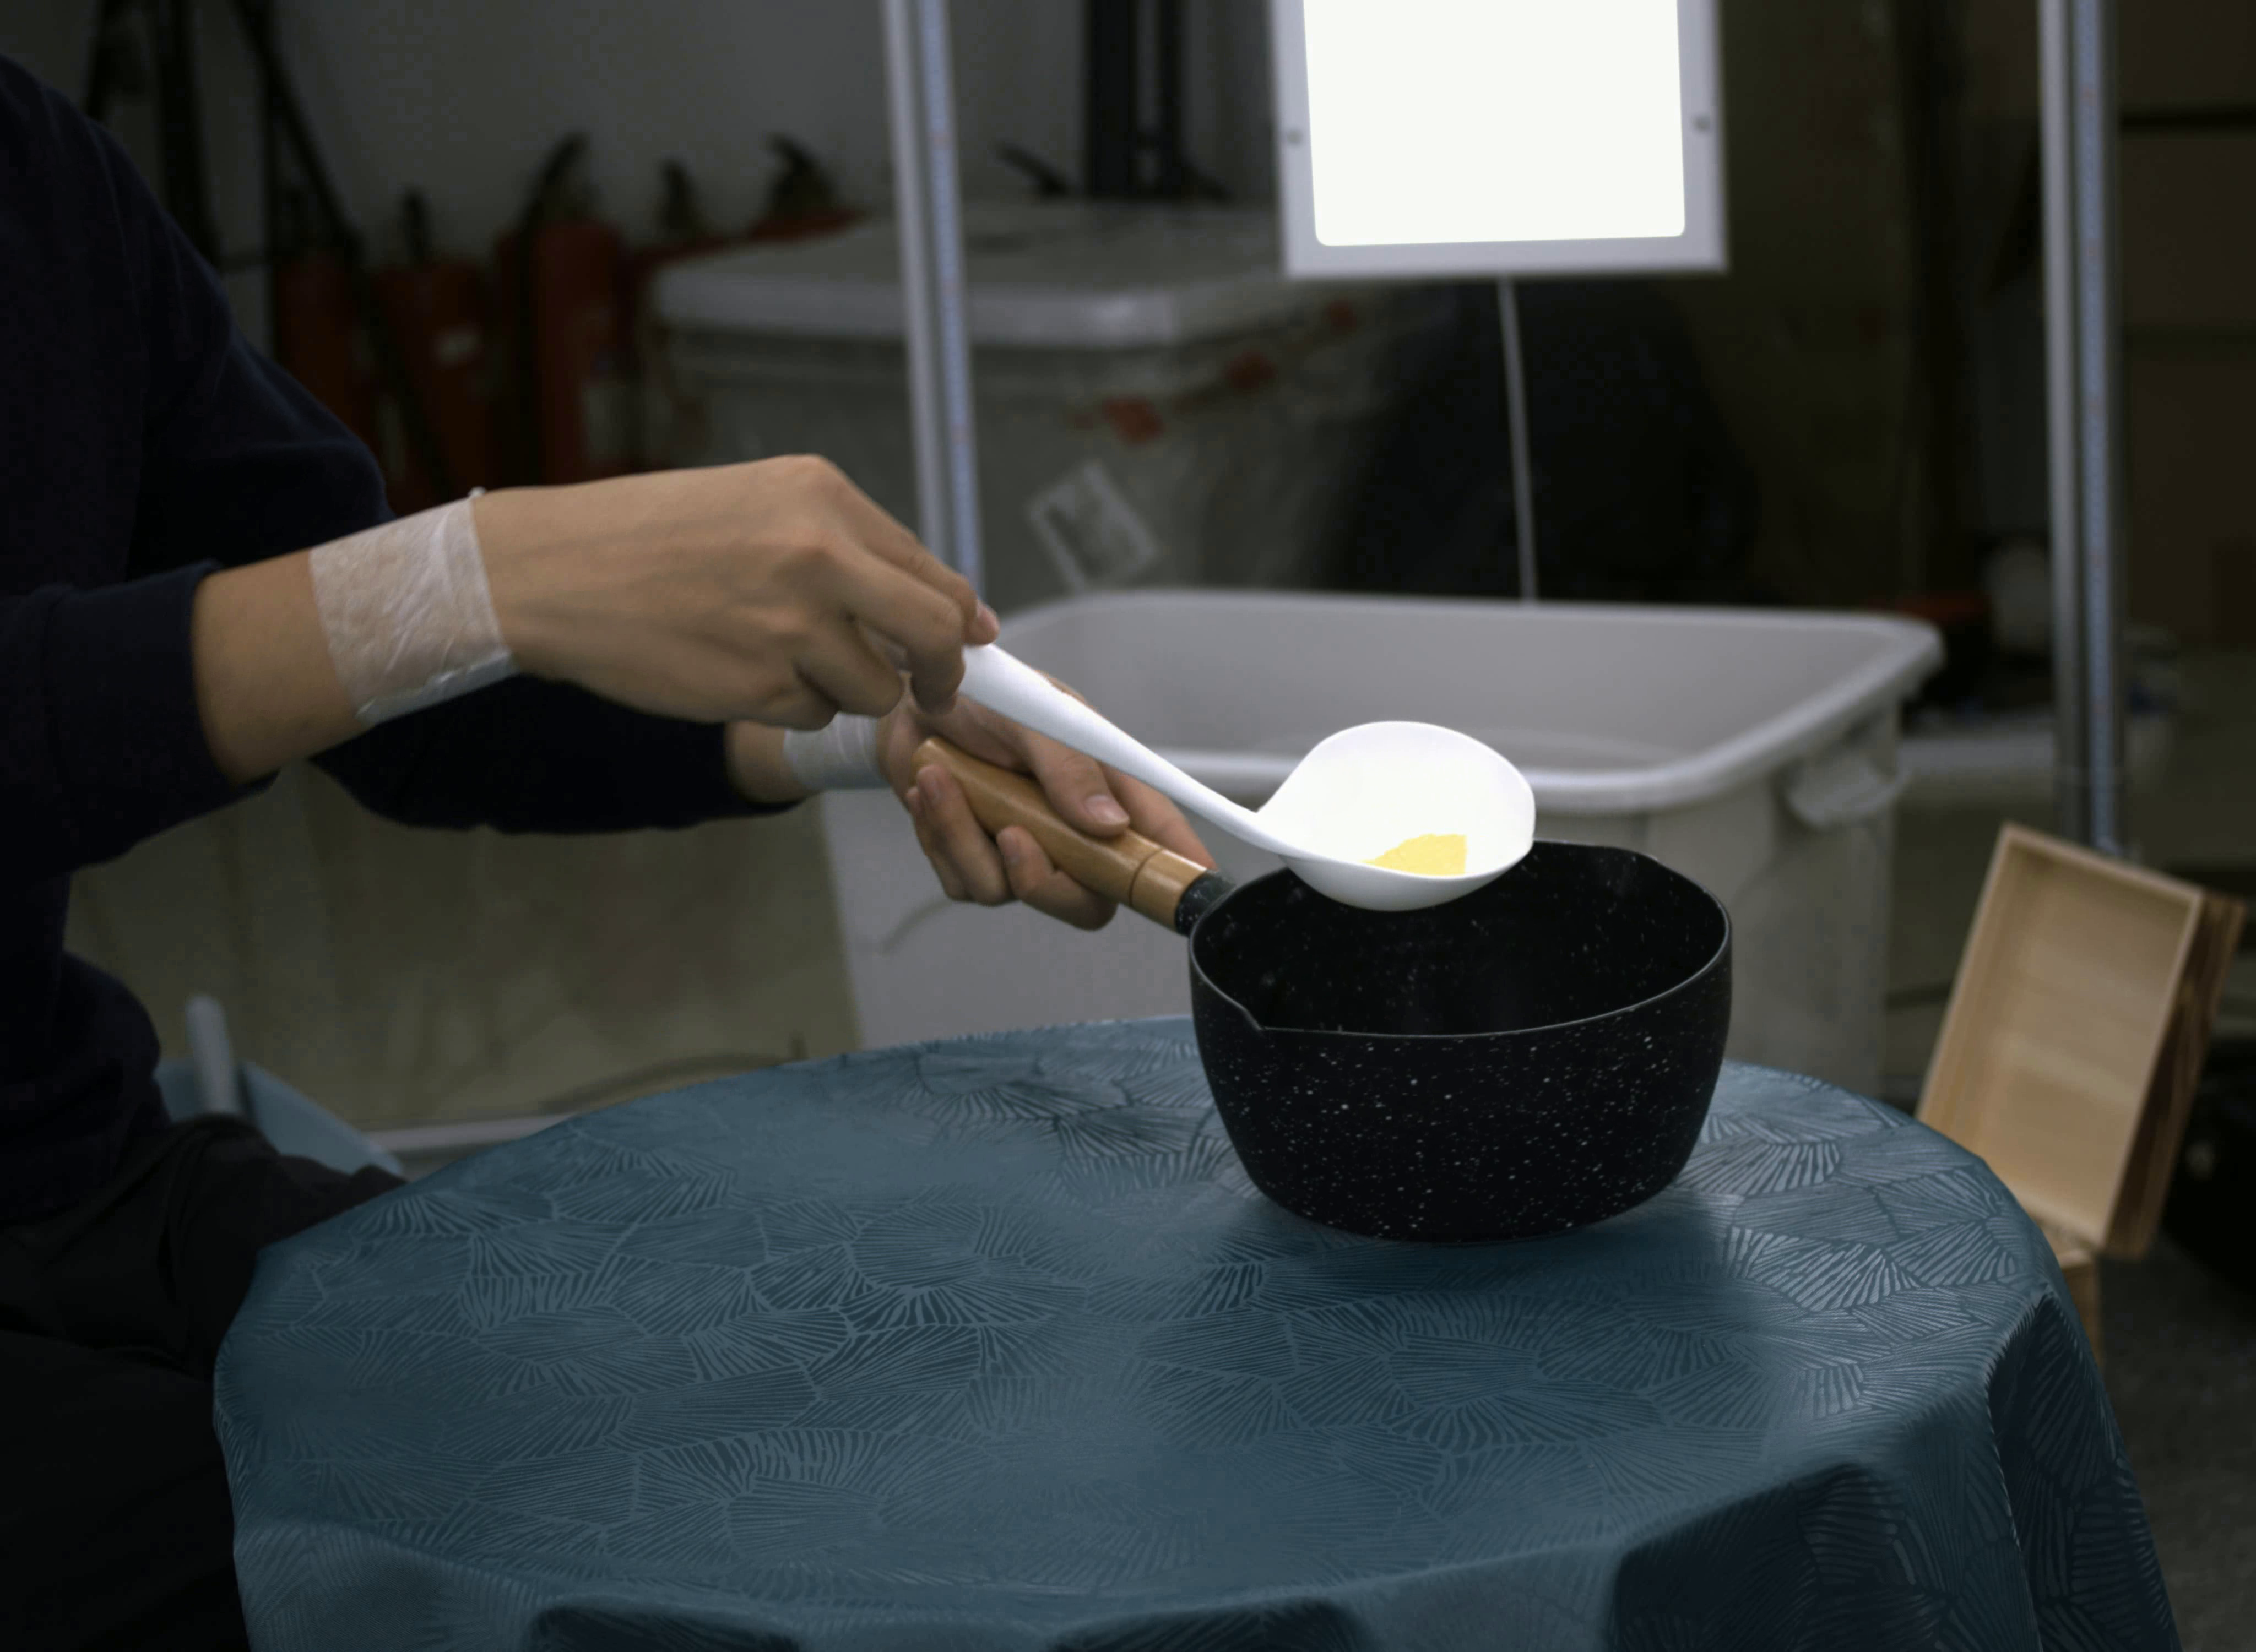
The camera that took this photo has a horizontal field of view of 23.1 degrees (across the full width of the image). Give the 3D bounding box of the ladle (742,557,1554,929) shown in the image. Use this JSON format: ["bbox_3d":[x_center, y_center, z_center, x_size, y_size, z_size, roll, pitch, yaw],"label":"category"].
[{"bbox_3d":[0.011,-0.033,1.732,0.287,0.071,0.090,24,30,-36],"label":"ladle"}]

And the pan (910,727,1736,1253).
[{"bbox_3d":[0.054,0.049,1.910,0.350,0.109,0.202,15,28,39],"label":"pan"}]
